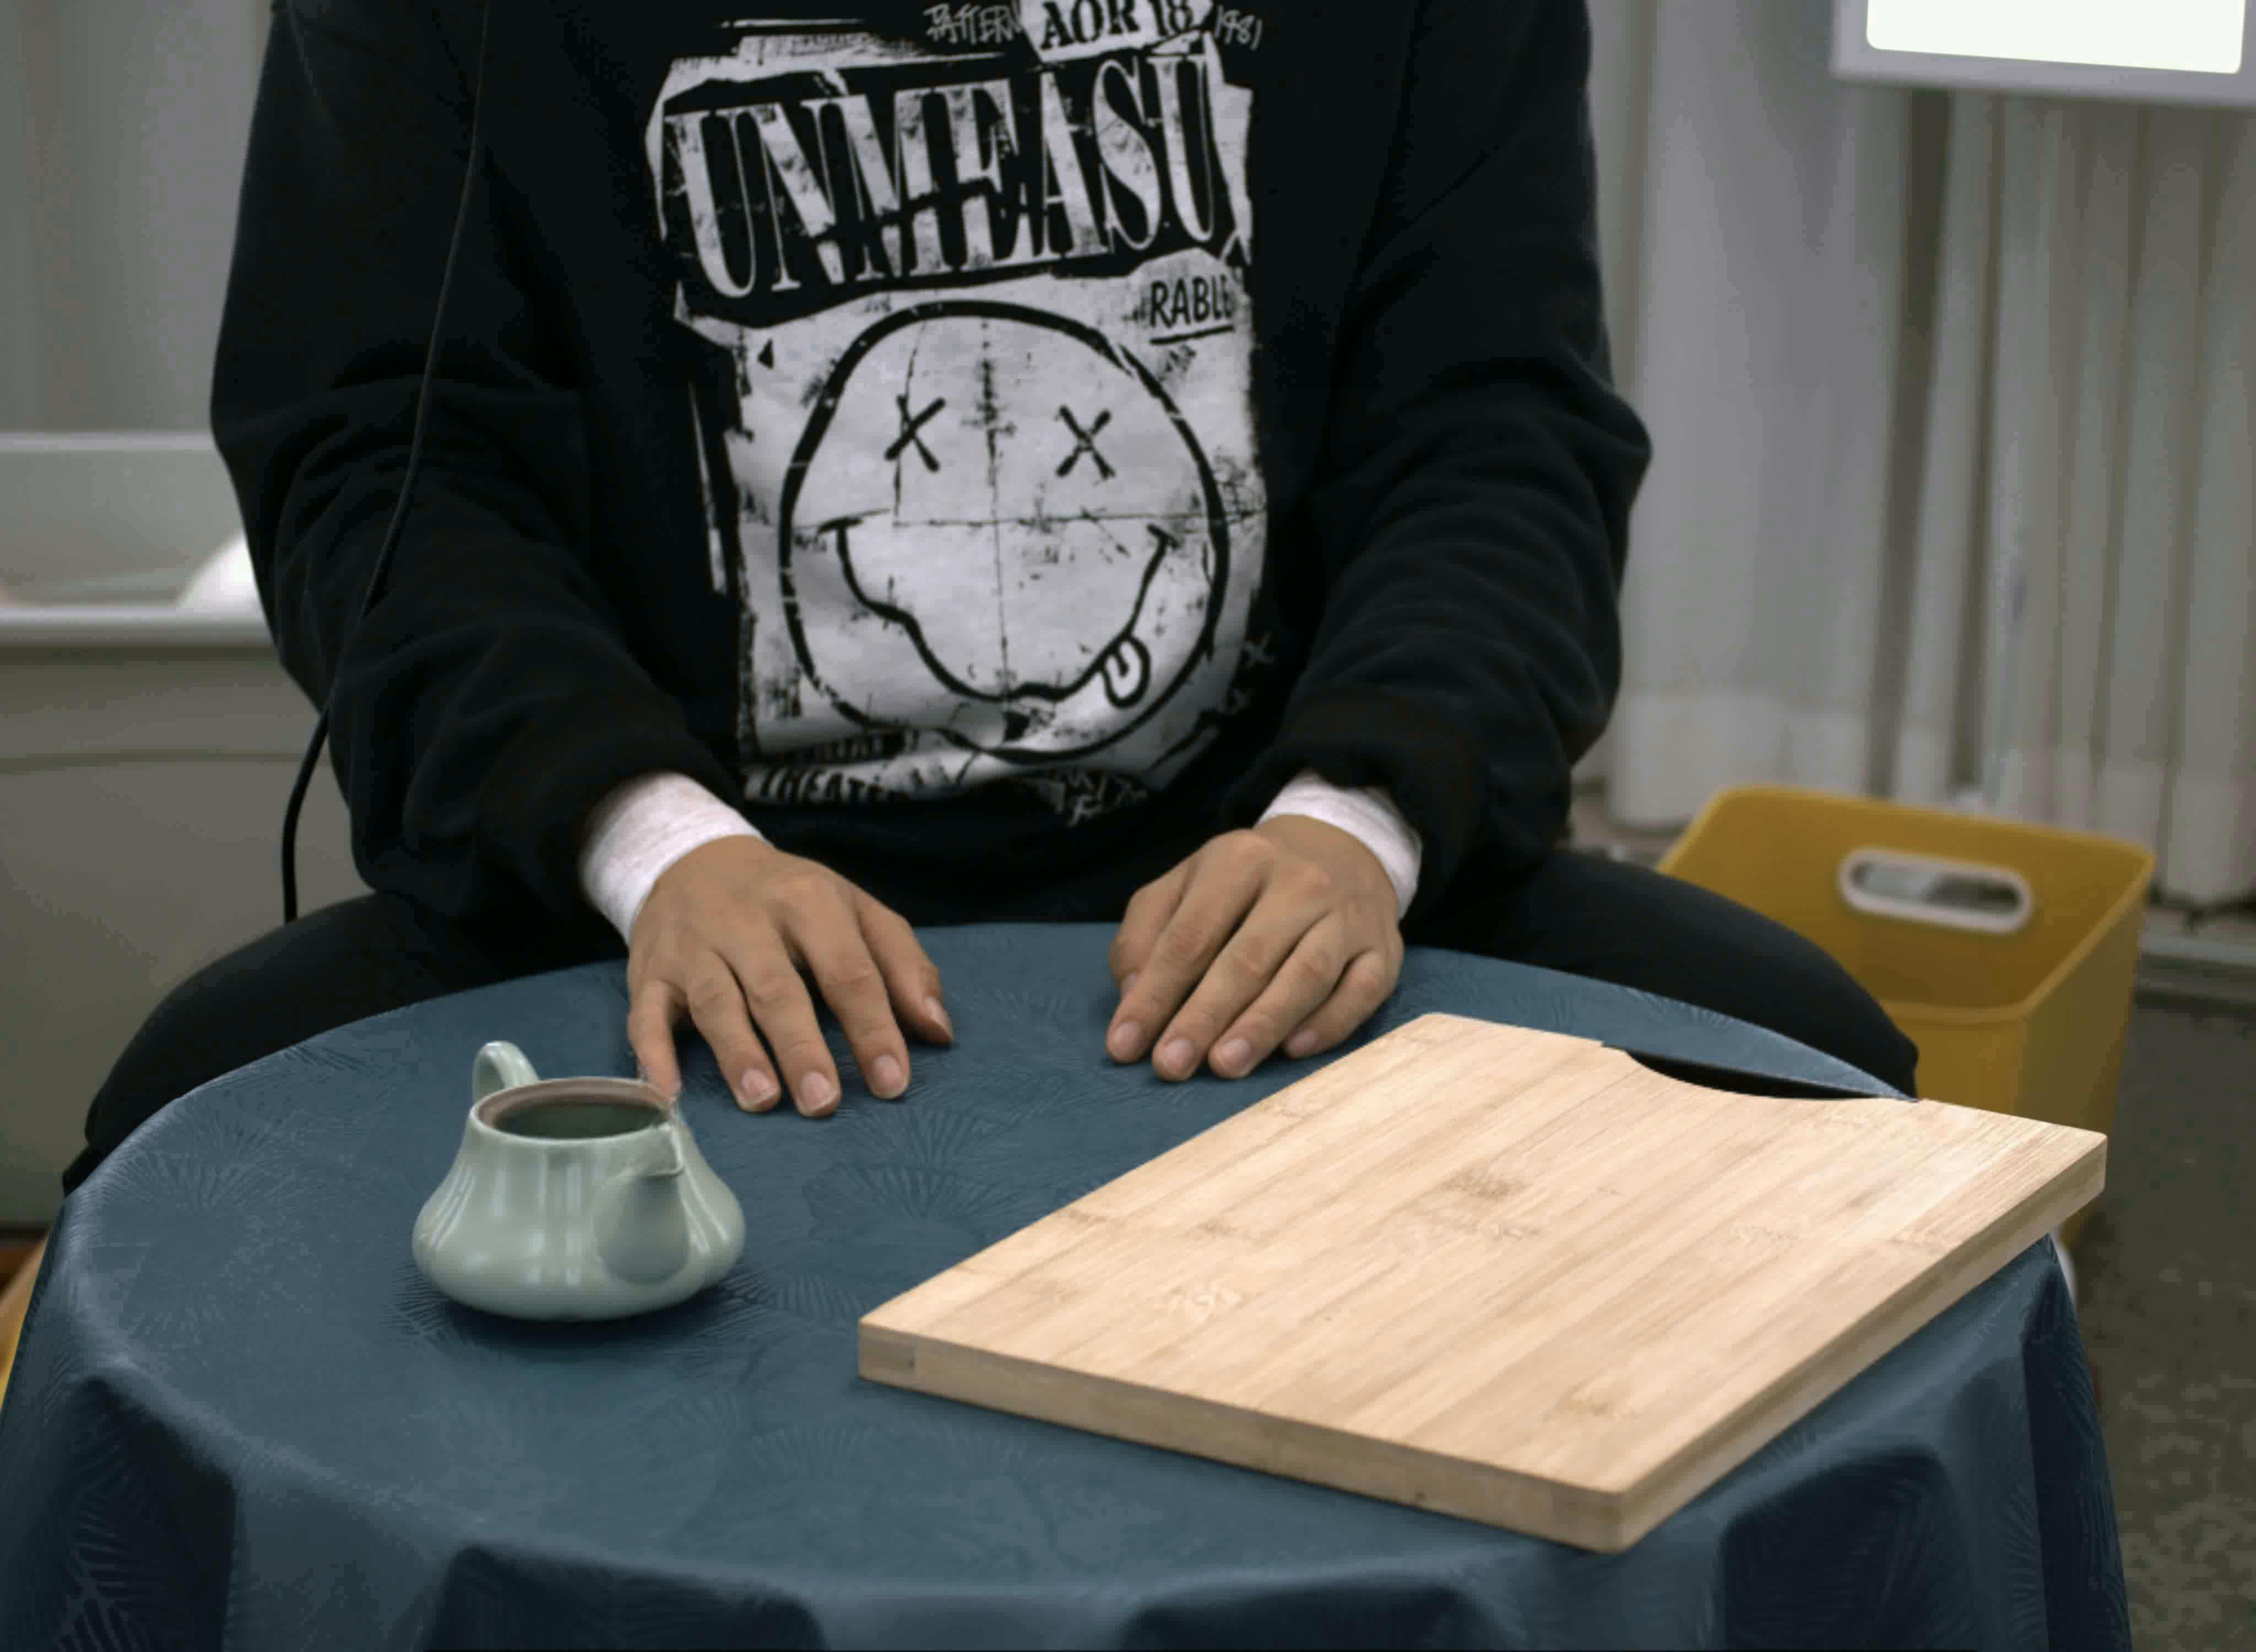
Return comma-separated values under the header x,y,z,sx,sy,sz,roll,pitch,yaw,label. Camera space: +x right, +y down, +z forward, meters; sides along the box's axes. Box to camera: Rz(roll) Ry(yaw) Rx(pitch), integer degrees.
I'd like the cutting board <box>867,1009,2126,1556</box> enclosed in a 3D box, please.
x,y,z,sx,sy,sz,roll,pitch,yaw,label
0.117,0.124,1.553,0.248,0.024,0.350,9,18,29,cutting board

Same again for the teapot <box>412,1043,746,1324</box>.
x,y,z,sx,sy,sz,roll,pitch,yaw,label
-0.162,0.106,1.528,0.096,0.062,0.135,-11,20,-31,teapot
